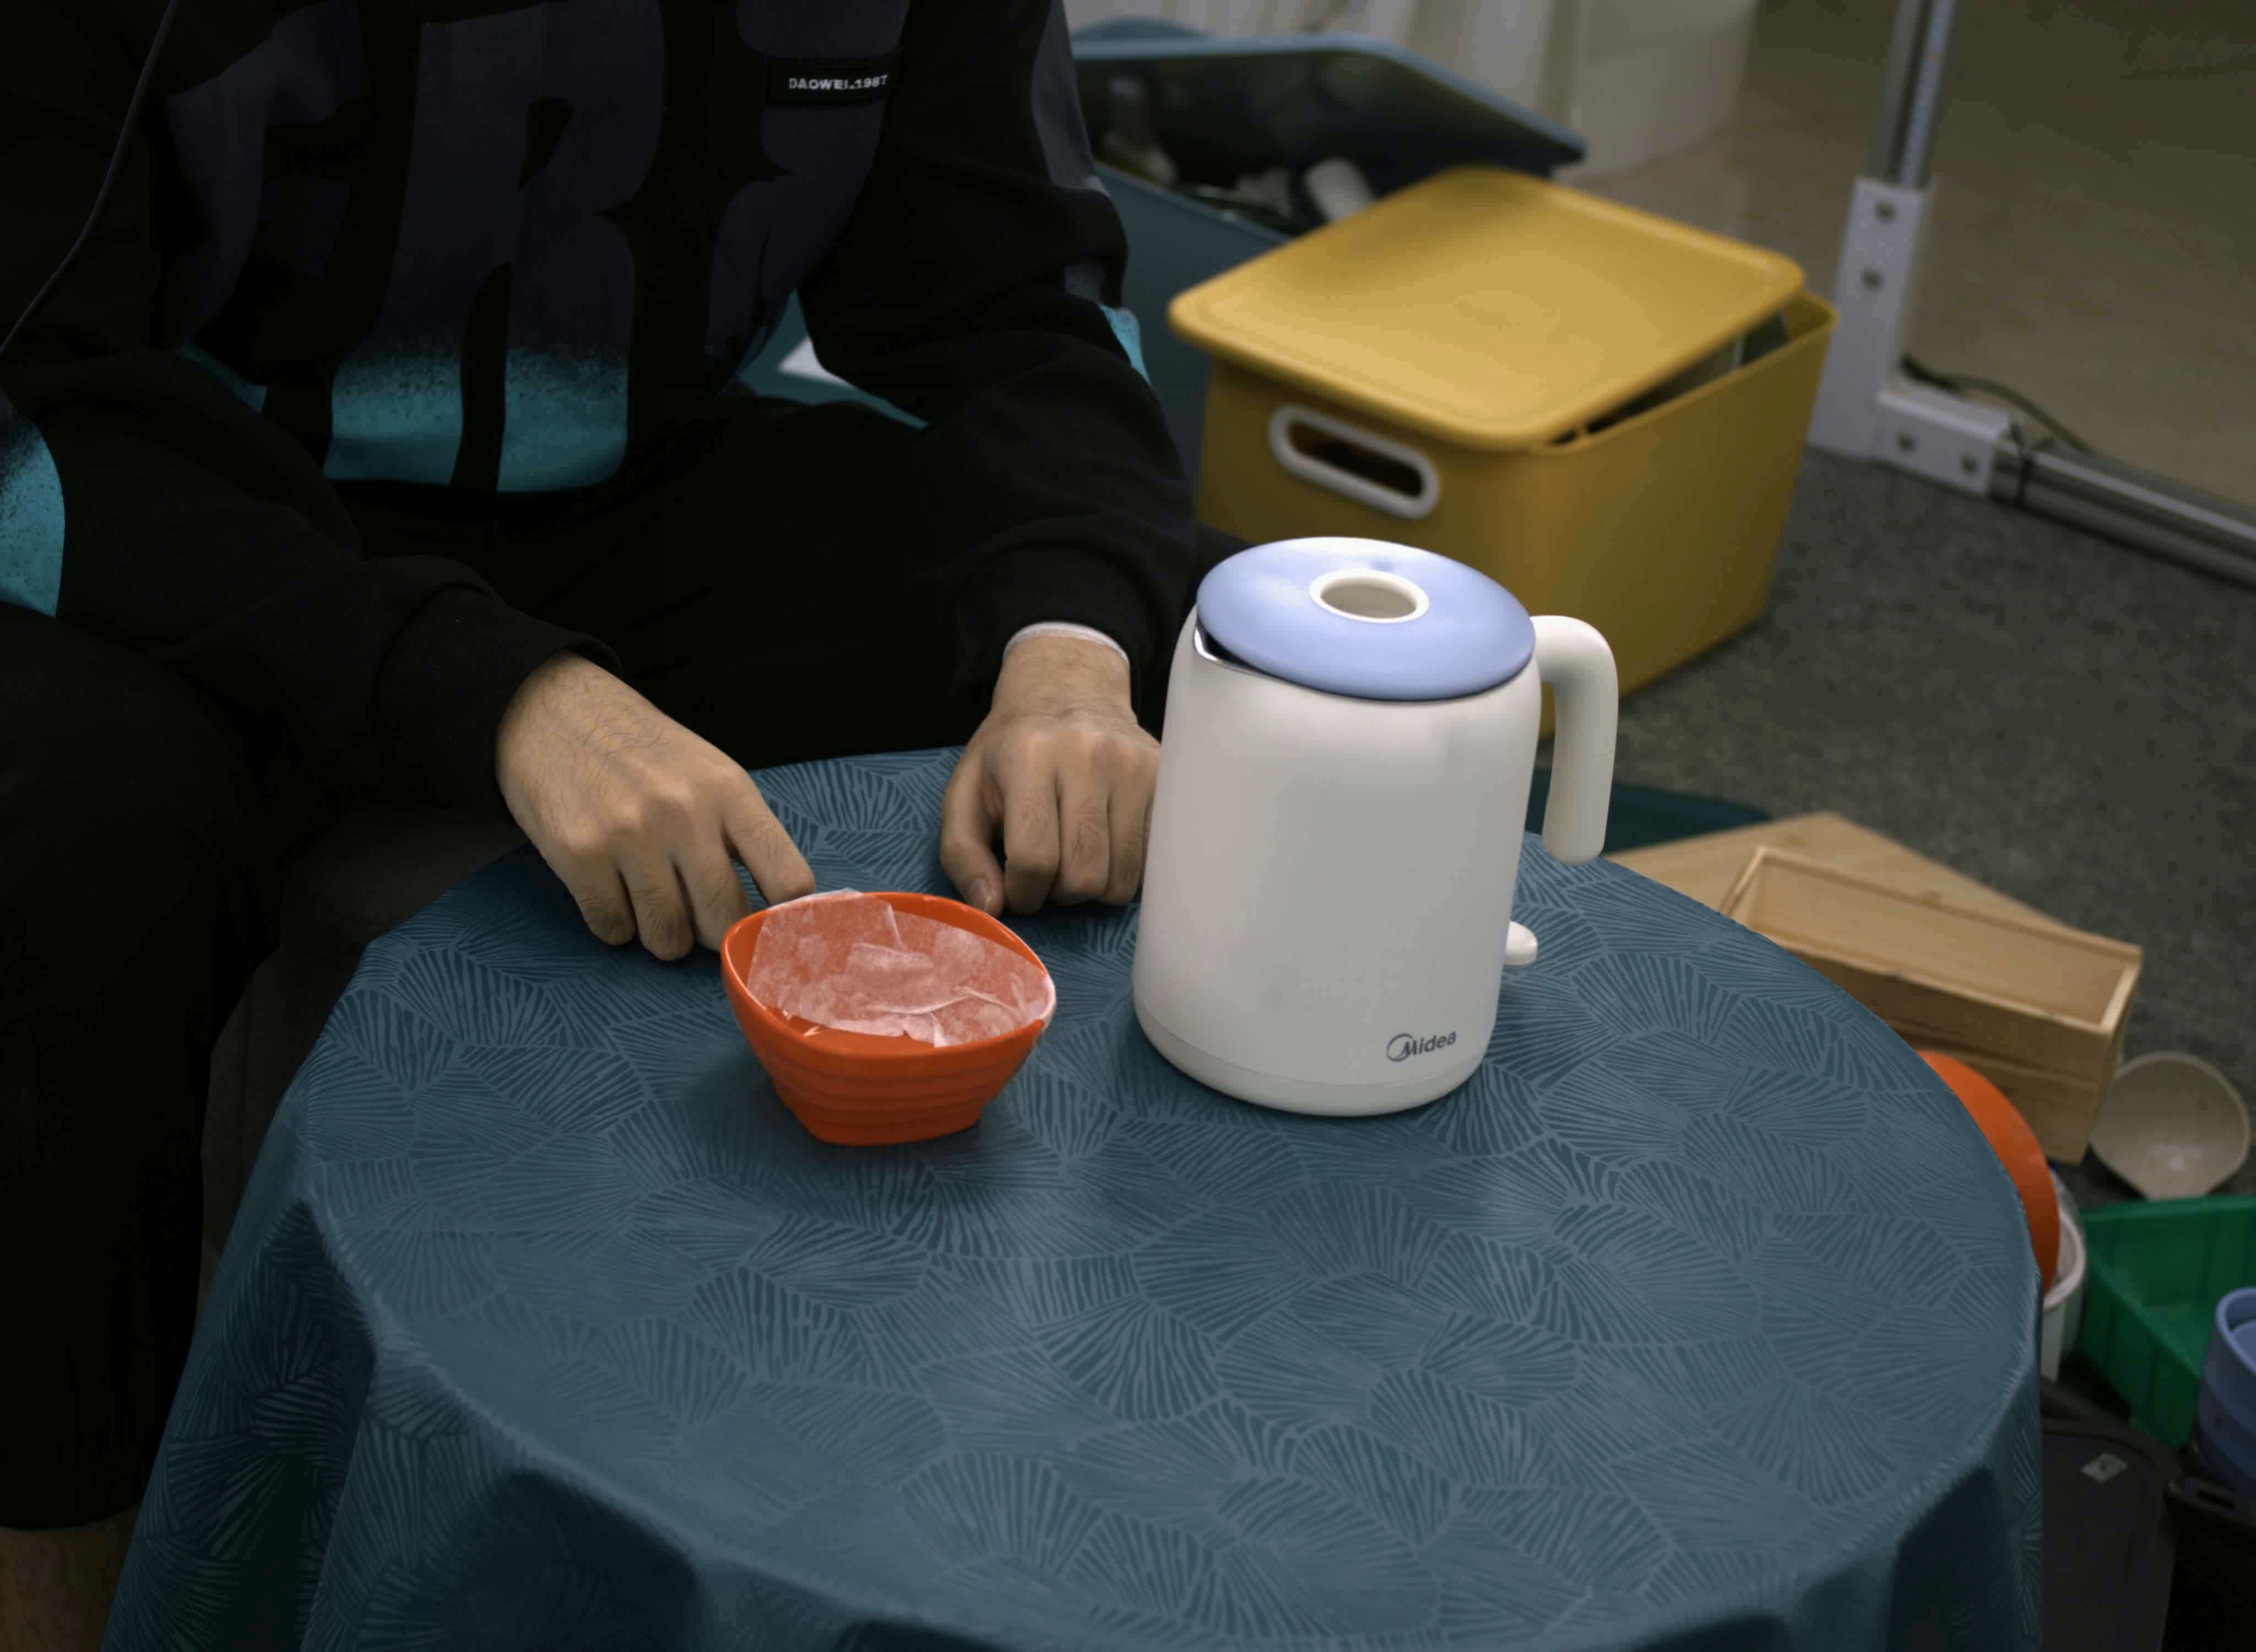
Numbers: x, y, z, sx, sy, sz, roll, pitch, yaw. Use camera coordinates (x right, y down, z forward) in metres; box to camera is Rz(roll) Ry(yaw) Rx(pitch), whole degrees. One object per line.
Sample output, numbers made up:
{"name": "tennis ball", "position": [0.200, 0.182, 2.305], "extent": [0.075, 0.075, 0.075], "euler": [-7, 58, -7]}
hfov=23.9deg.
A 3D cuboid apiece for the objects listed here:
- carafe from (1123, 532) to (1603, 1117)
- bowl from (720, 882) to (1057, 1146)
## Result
{"name": "carafe", "position": [0.092, -0.005, 1.884], "extent": [0.190, 0.182, 0.133], "euler": [-9, 32, -34]}
{"name": "bowl", "position": [-0.084, 0.069, 1.827], "extent": [0.118, 0.051, 0.120], "euler": [4, 30, -3]}
